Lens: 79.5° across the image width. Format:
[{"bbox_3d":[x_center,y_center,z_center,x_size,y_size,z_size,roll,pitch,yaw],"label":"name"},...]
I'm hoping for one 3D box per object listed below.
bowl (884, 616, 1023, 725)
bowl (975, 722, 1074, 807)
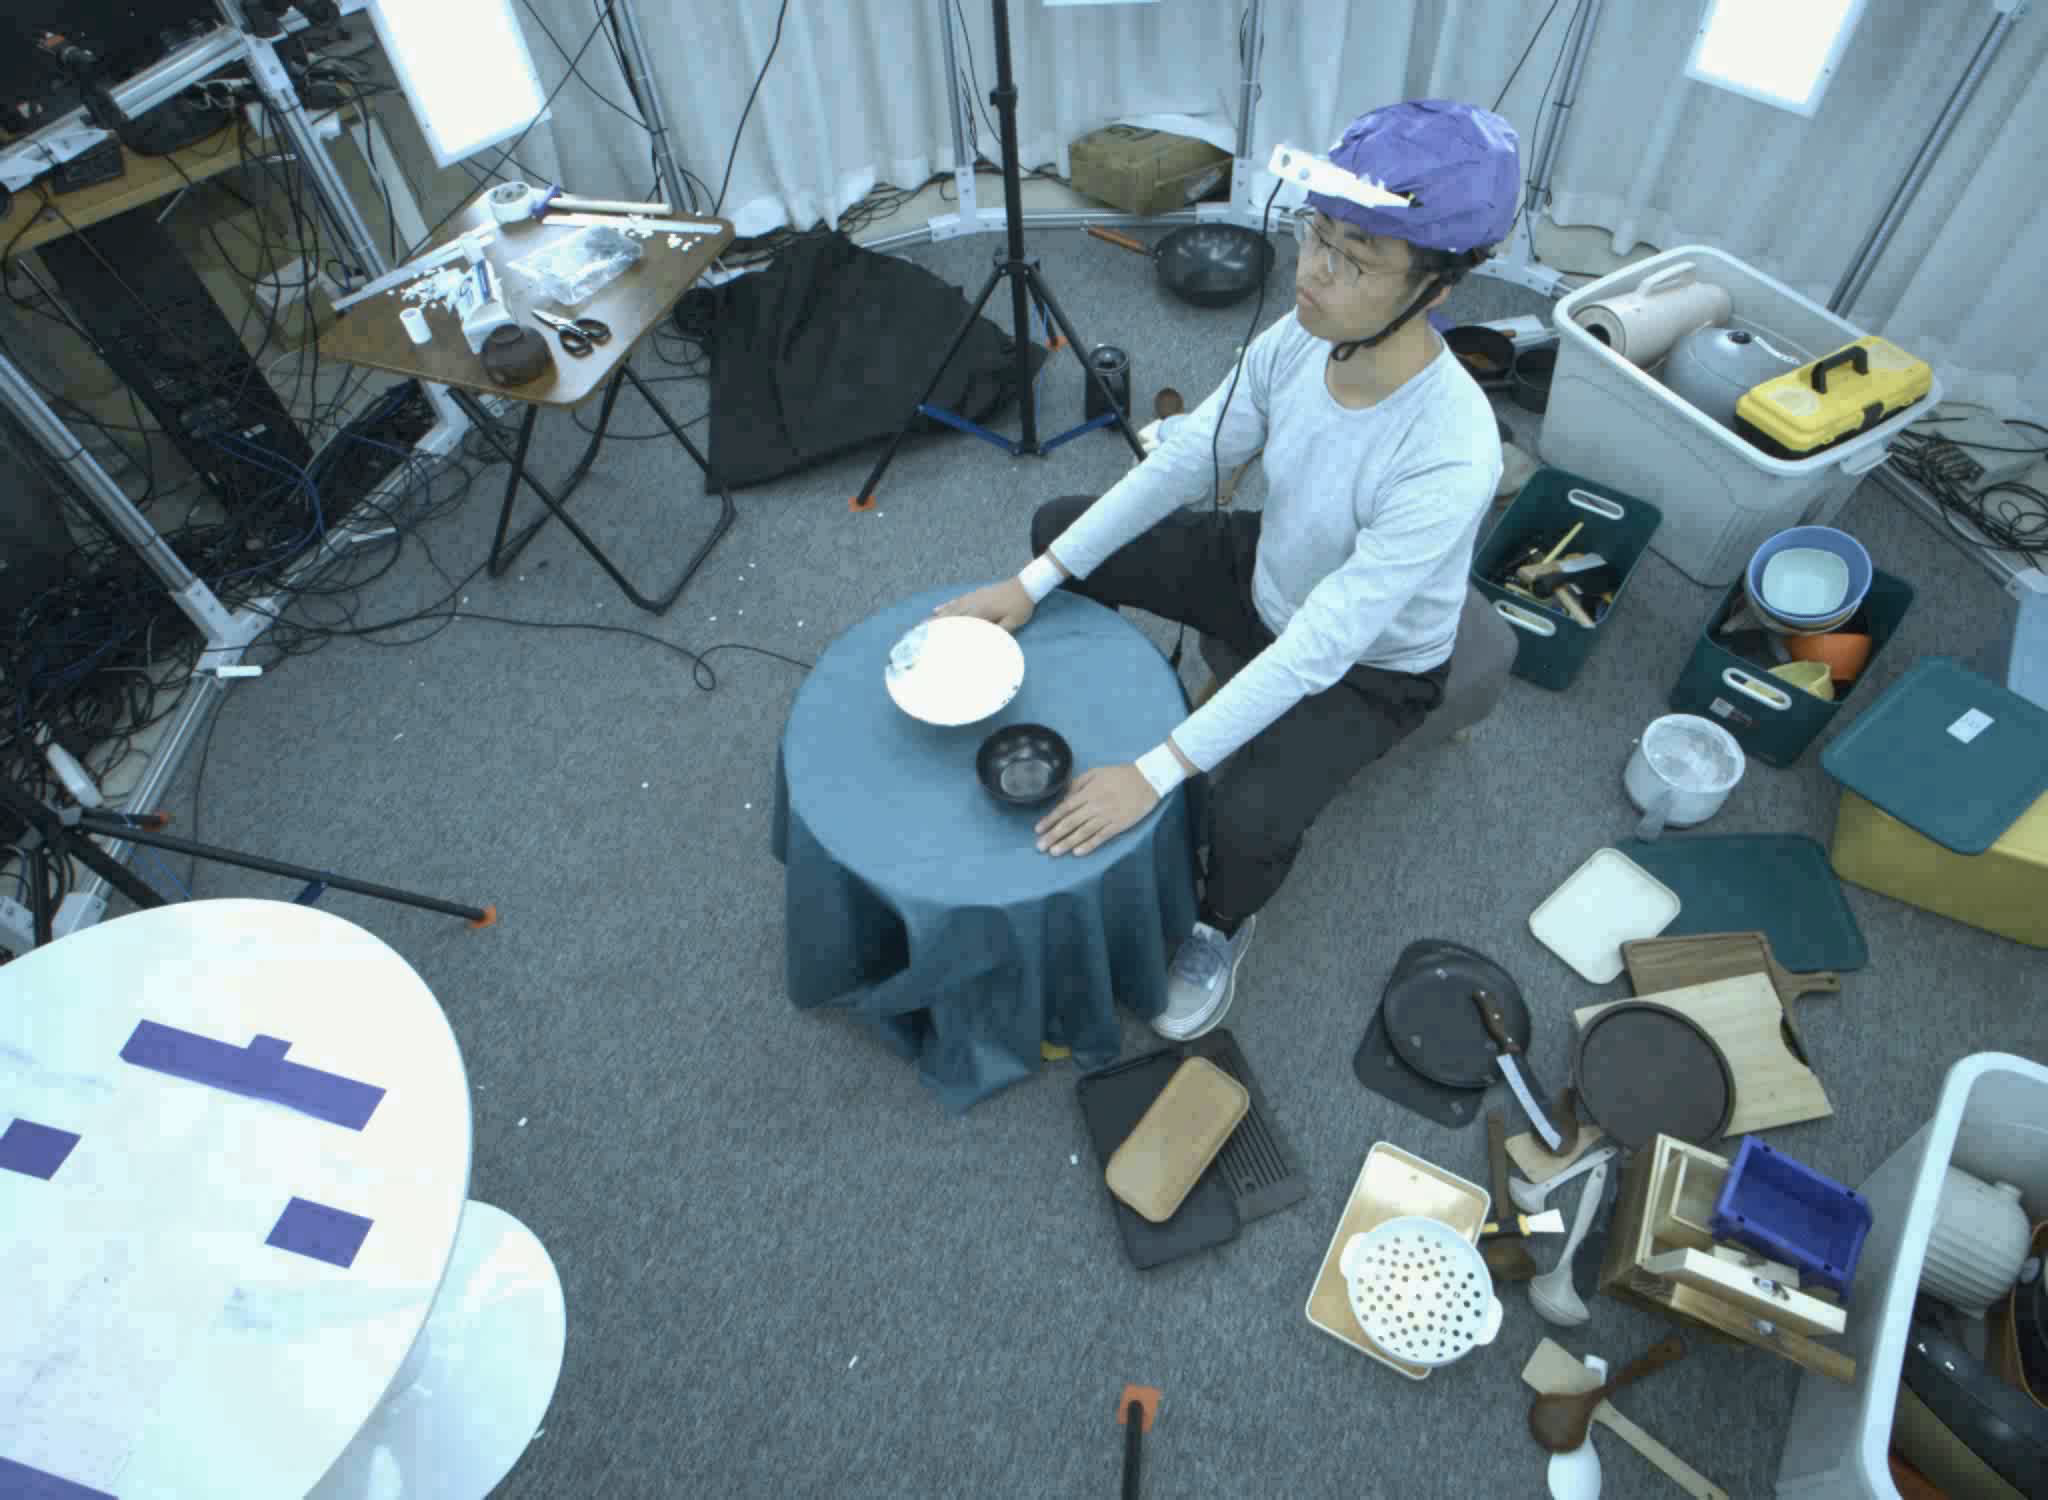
[{"bbox_3d":[-0.102,-0.099,1.820,0.204,0.079,0.202,0,55,1],"label":"bowl"},{"bbox_3d":[0.000,0.029,1.746,0.140,0.050,0.138,2,54,-1],"label":"bowl"}]
